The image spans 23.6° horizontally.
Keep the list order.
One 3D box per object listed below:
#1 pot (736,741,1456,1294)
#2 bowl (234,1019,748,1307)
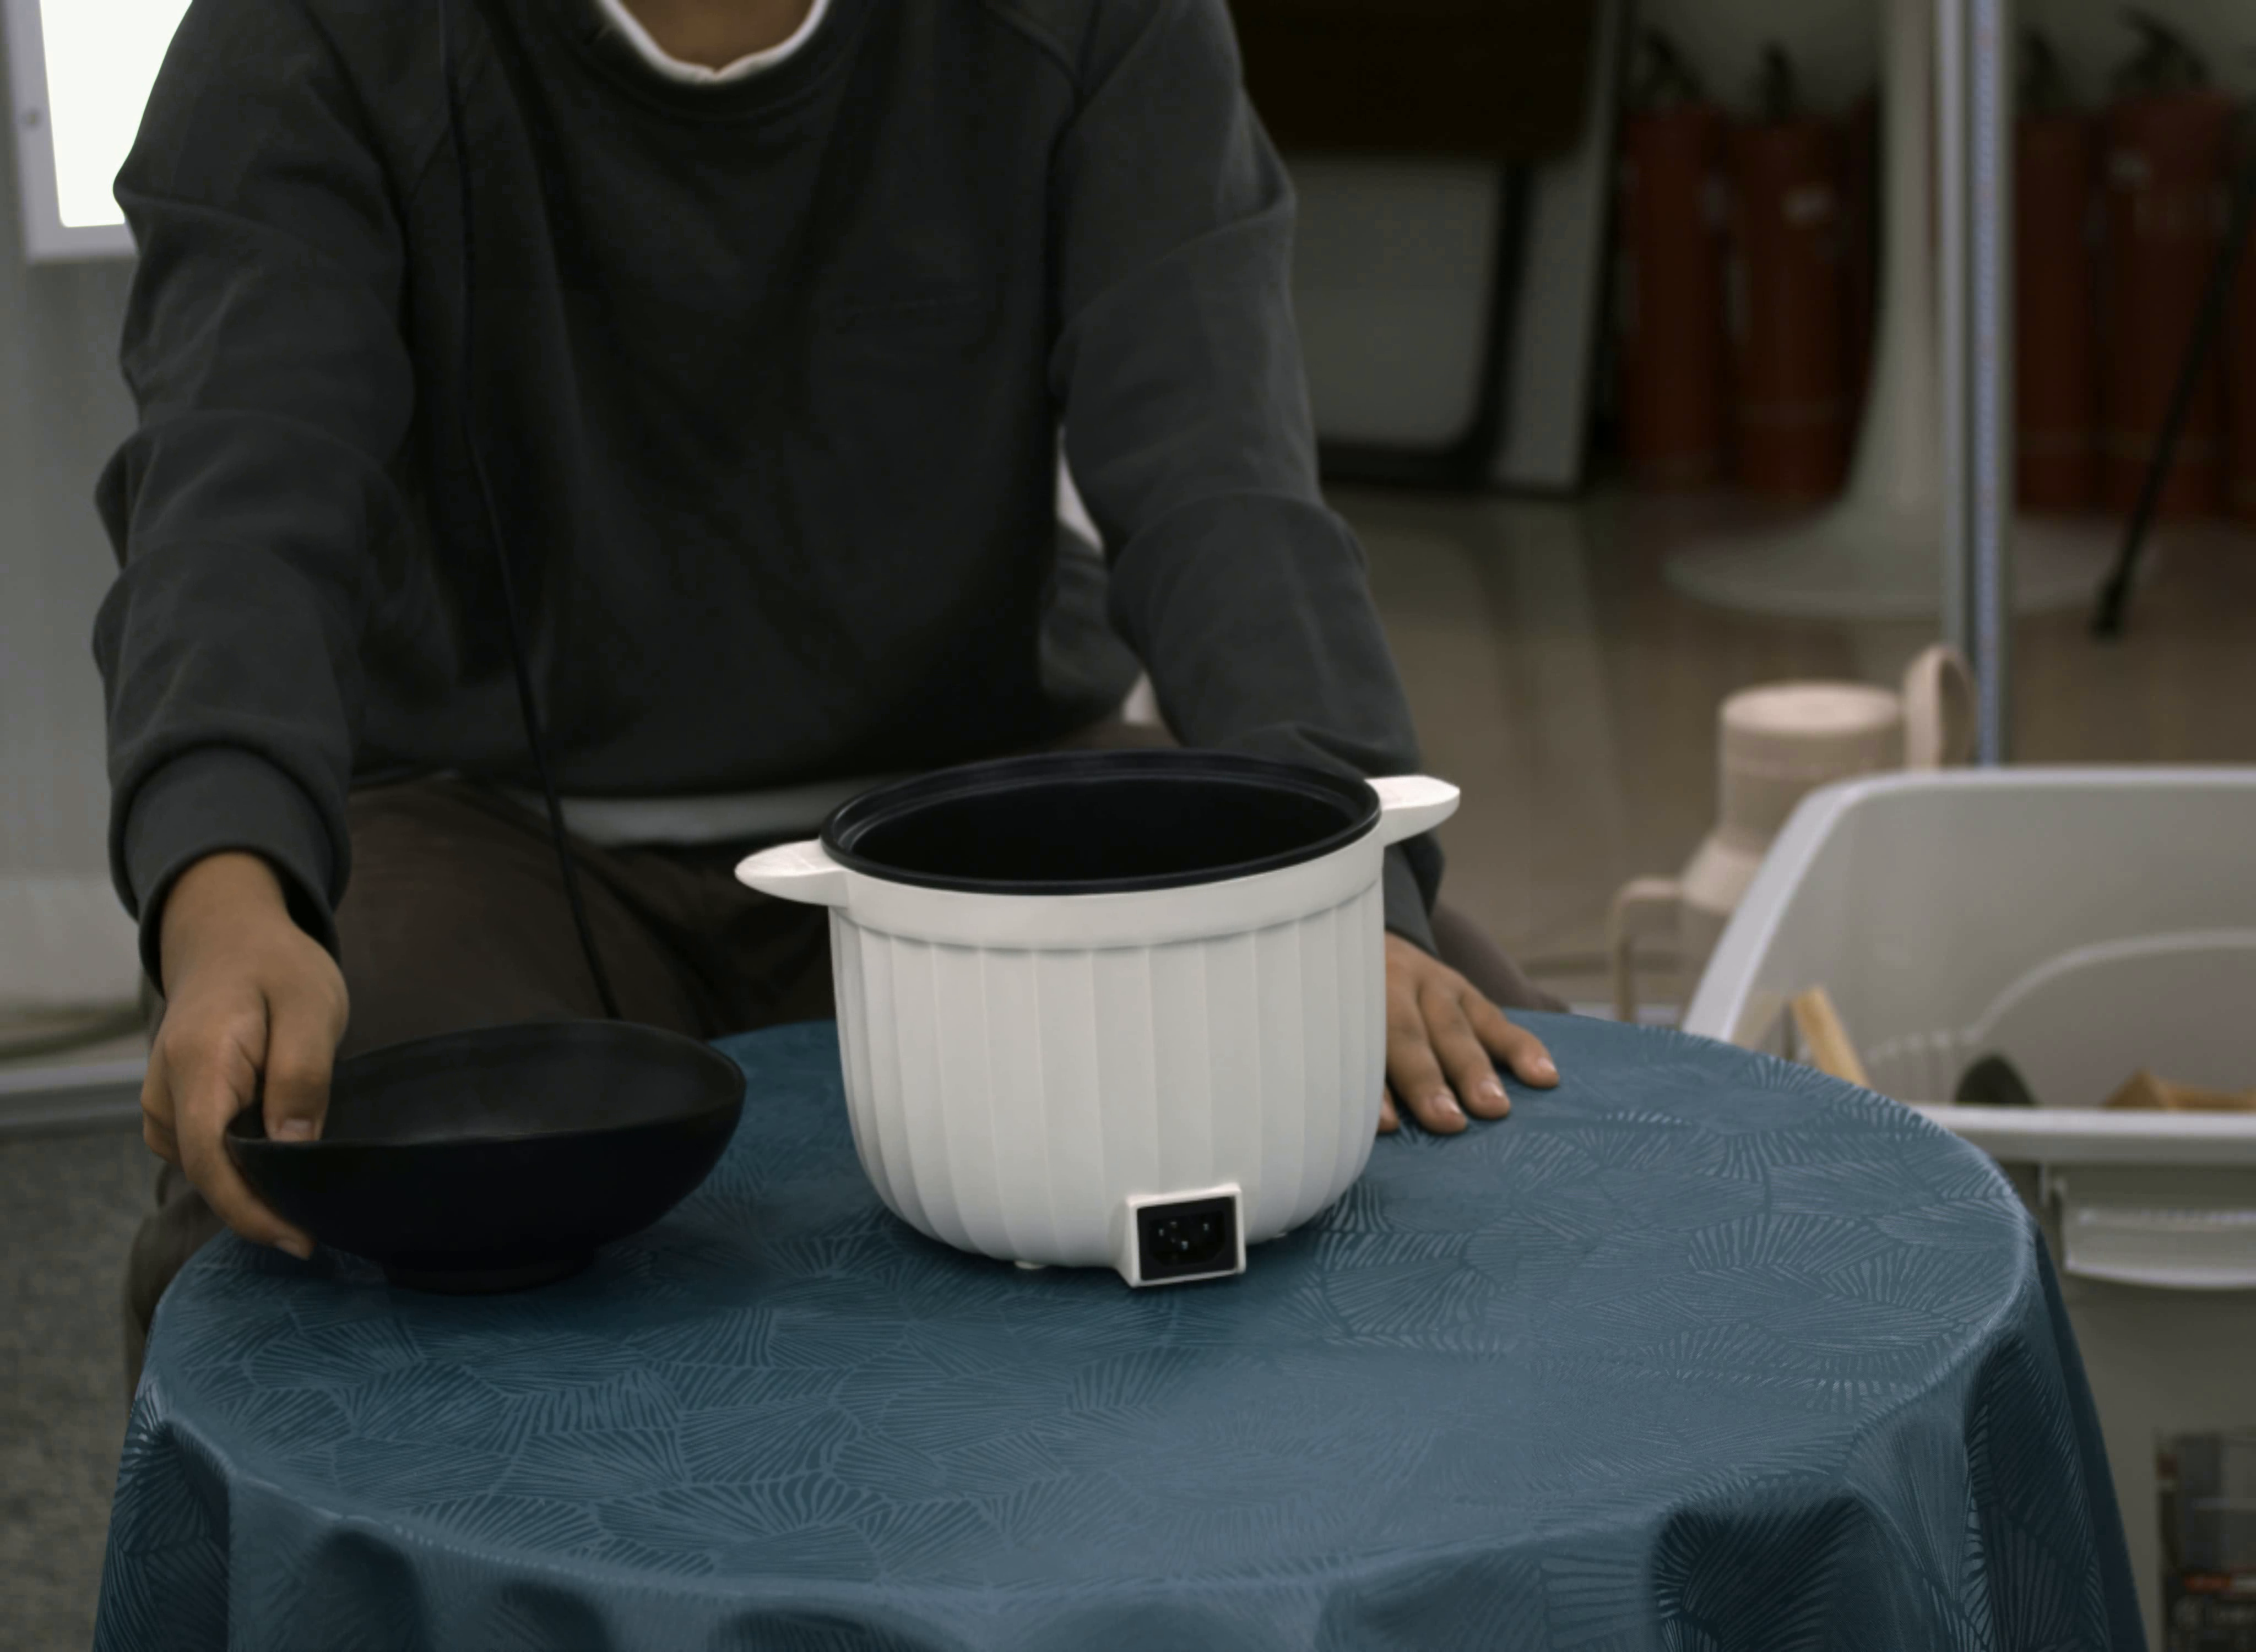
[{"bbox_3d":[-0.008,0.059,1.740,0.236,0.144,0.192,-6,17,-13],"label":"pot"},{"bbox_3d":[-0.202,0.113,1.732,0.169,0.067,0.137,-4,13,7],"label":"bowl"}]
